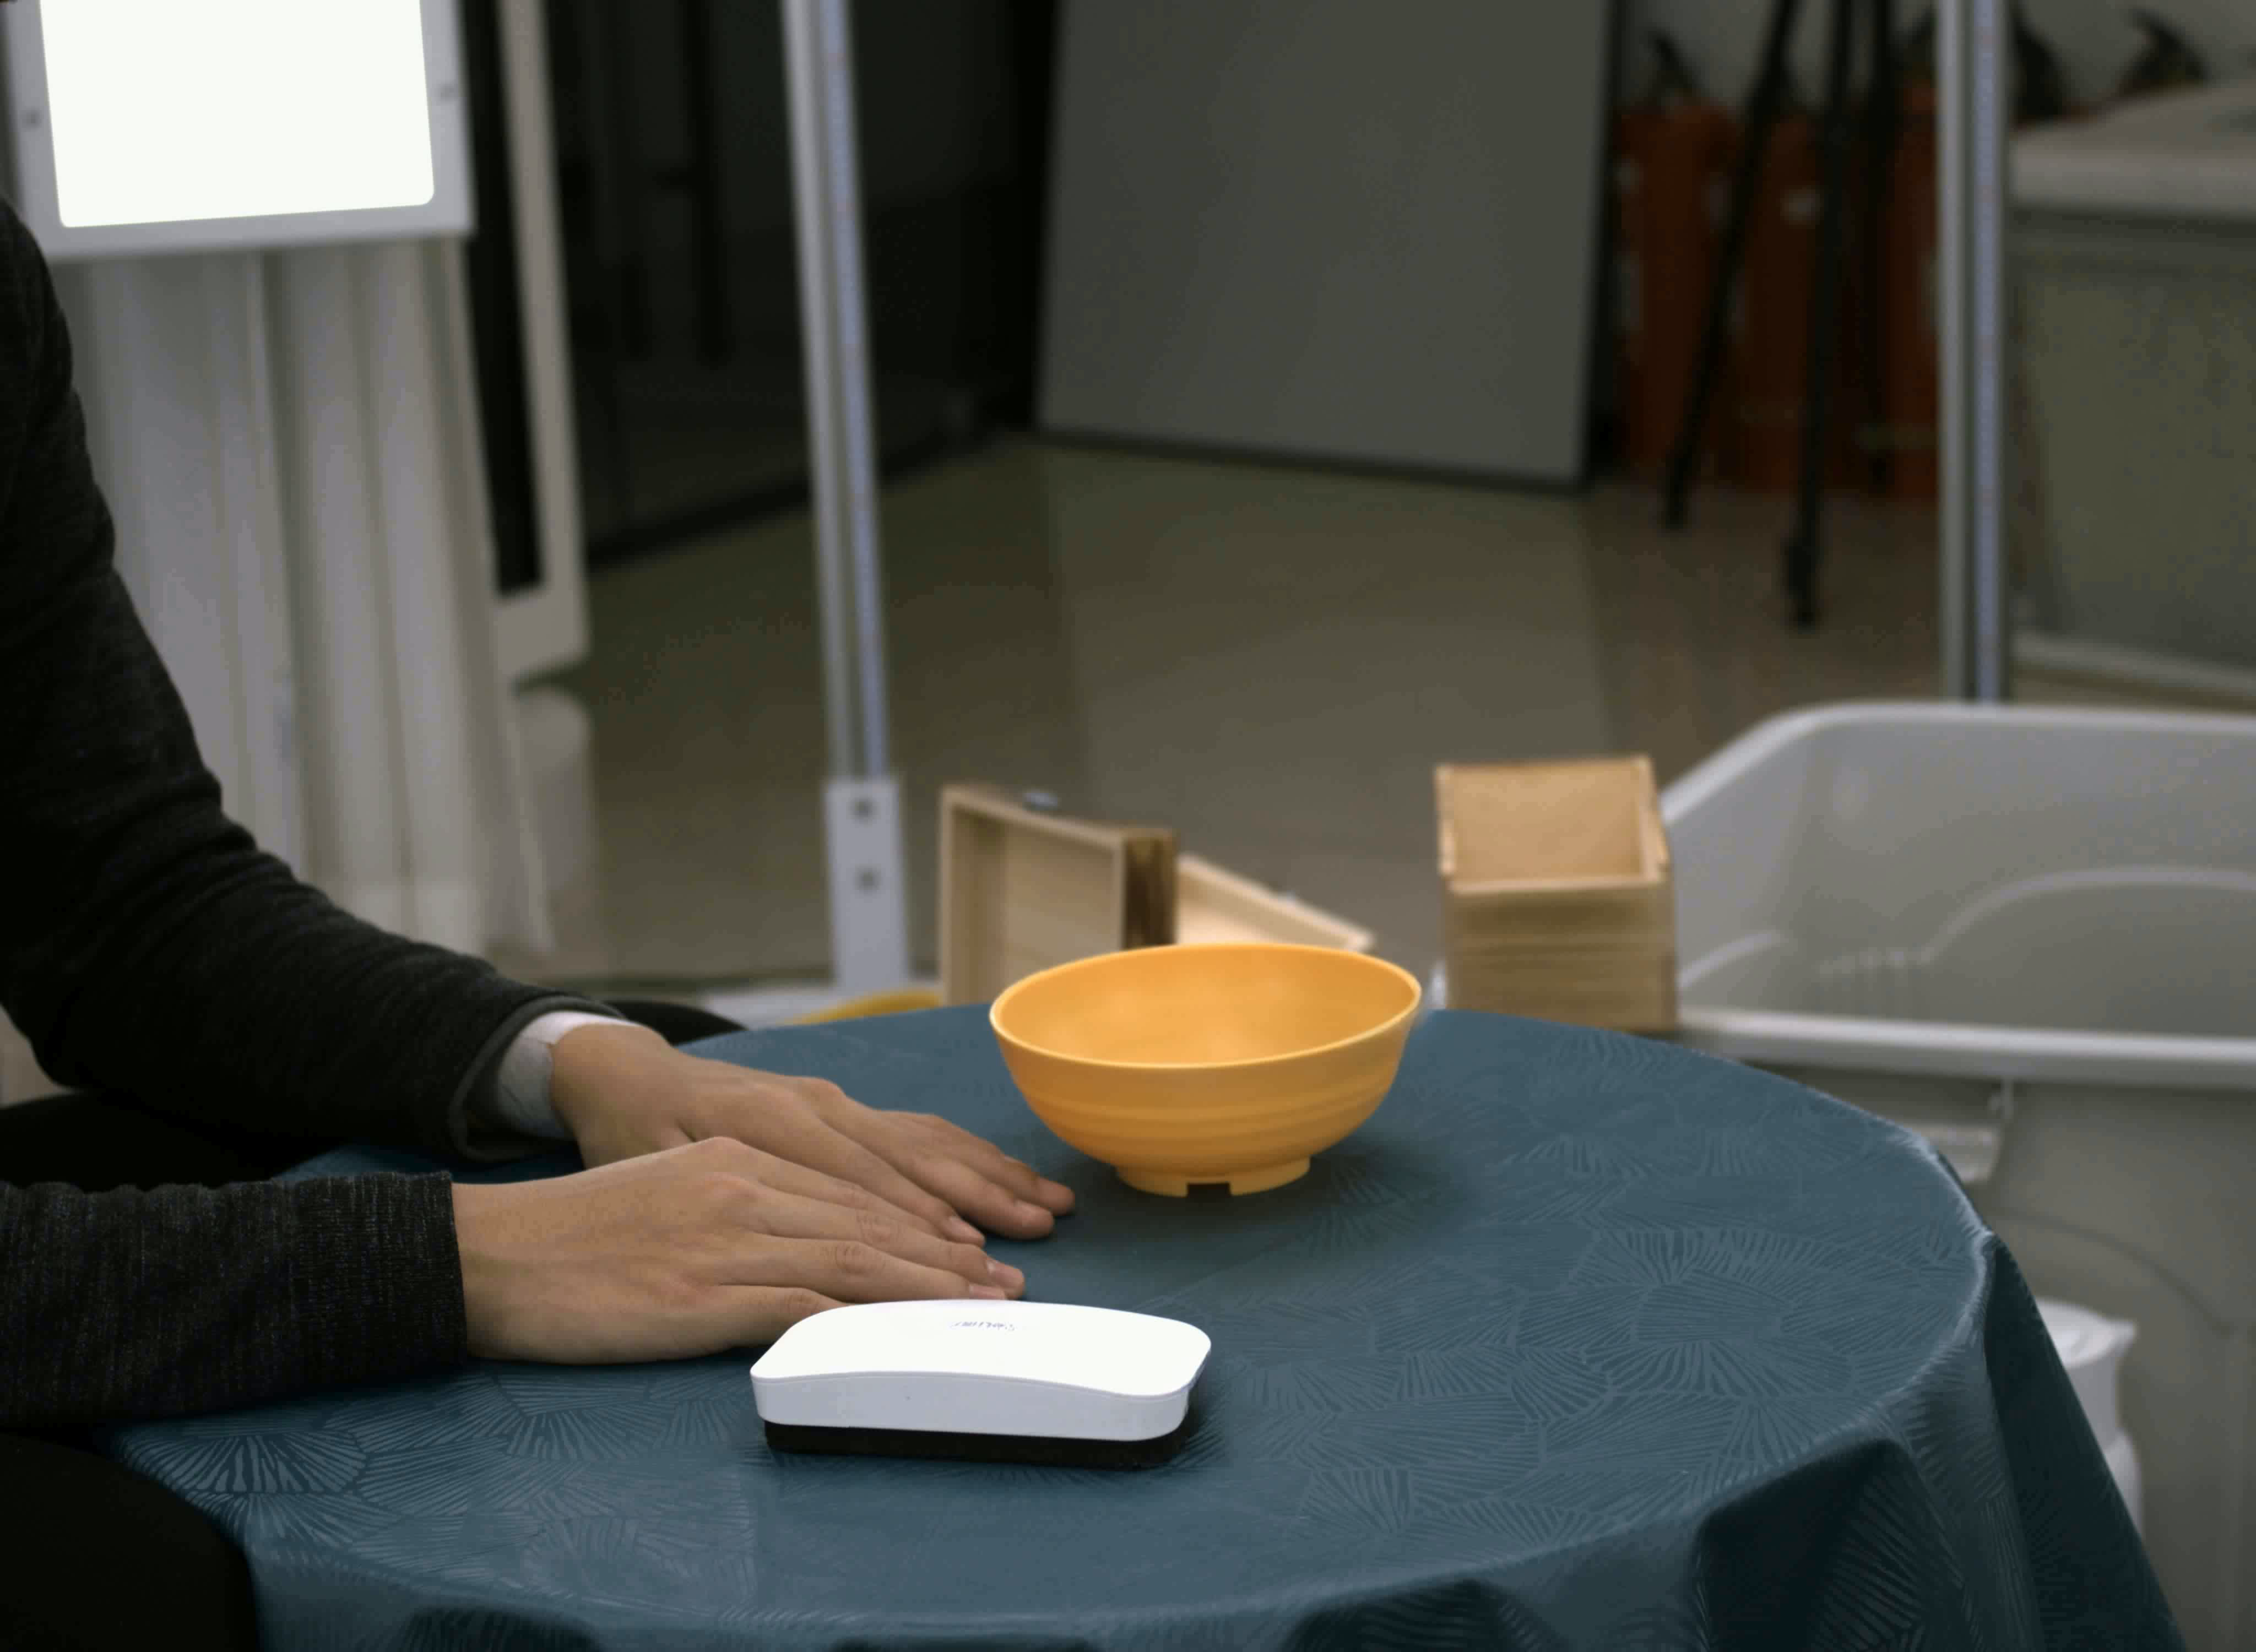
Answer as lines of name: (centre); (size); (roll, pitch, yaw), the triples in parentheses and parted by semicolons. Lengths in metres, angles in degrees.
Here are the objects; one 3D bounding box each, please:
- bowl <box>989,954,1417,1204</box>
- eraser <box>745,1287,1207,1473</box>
bowl: (0.027, 0.087, 1.780); (0.143, 0.061, 0.145); (-4, 12, 0)
eraser: (-0.043, 0.160, 1.559); (0.131, 0.035, 0.063); (1, 14, 18)
